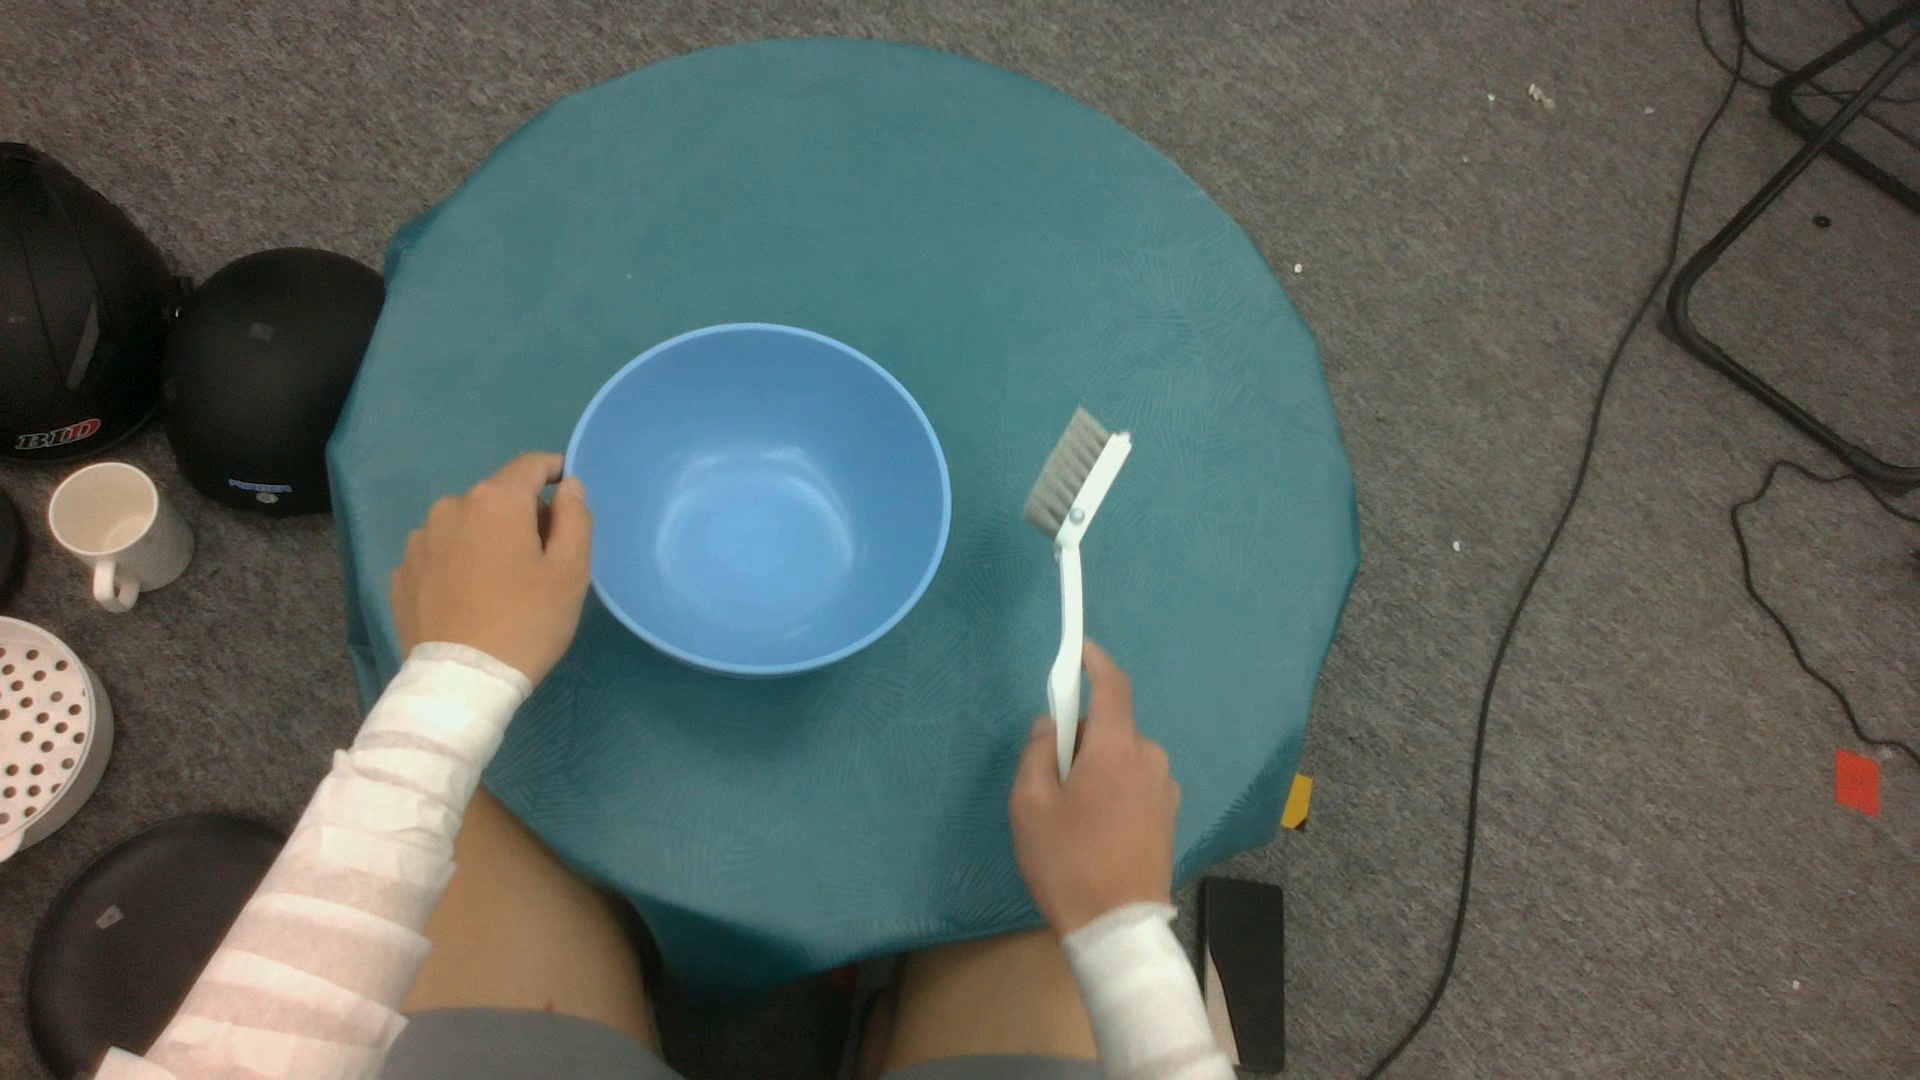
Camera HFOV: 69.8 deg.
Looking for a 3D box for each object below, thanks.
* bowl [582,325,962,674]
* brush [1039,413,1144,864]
[{"bbox_3d":[-0.103,-0.010,0.757,0.196,0.095,0.197,4,66,-10],"label":"bowl"},{"bbox_3d":[0.055,0.048,0.741,0.050,0.034,0.244,11,75,5],"label":"brush"}]
